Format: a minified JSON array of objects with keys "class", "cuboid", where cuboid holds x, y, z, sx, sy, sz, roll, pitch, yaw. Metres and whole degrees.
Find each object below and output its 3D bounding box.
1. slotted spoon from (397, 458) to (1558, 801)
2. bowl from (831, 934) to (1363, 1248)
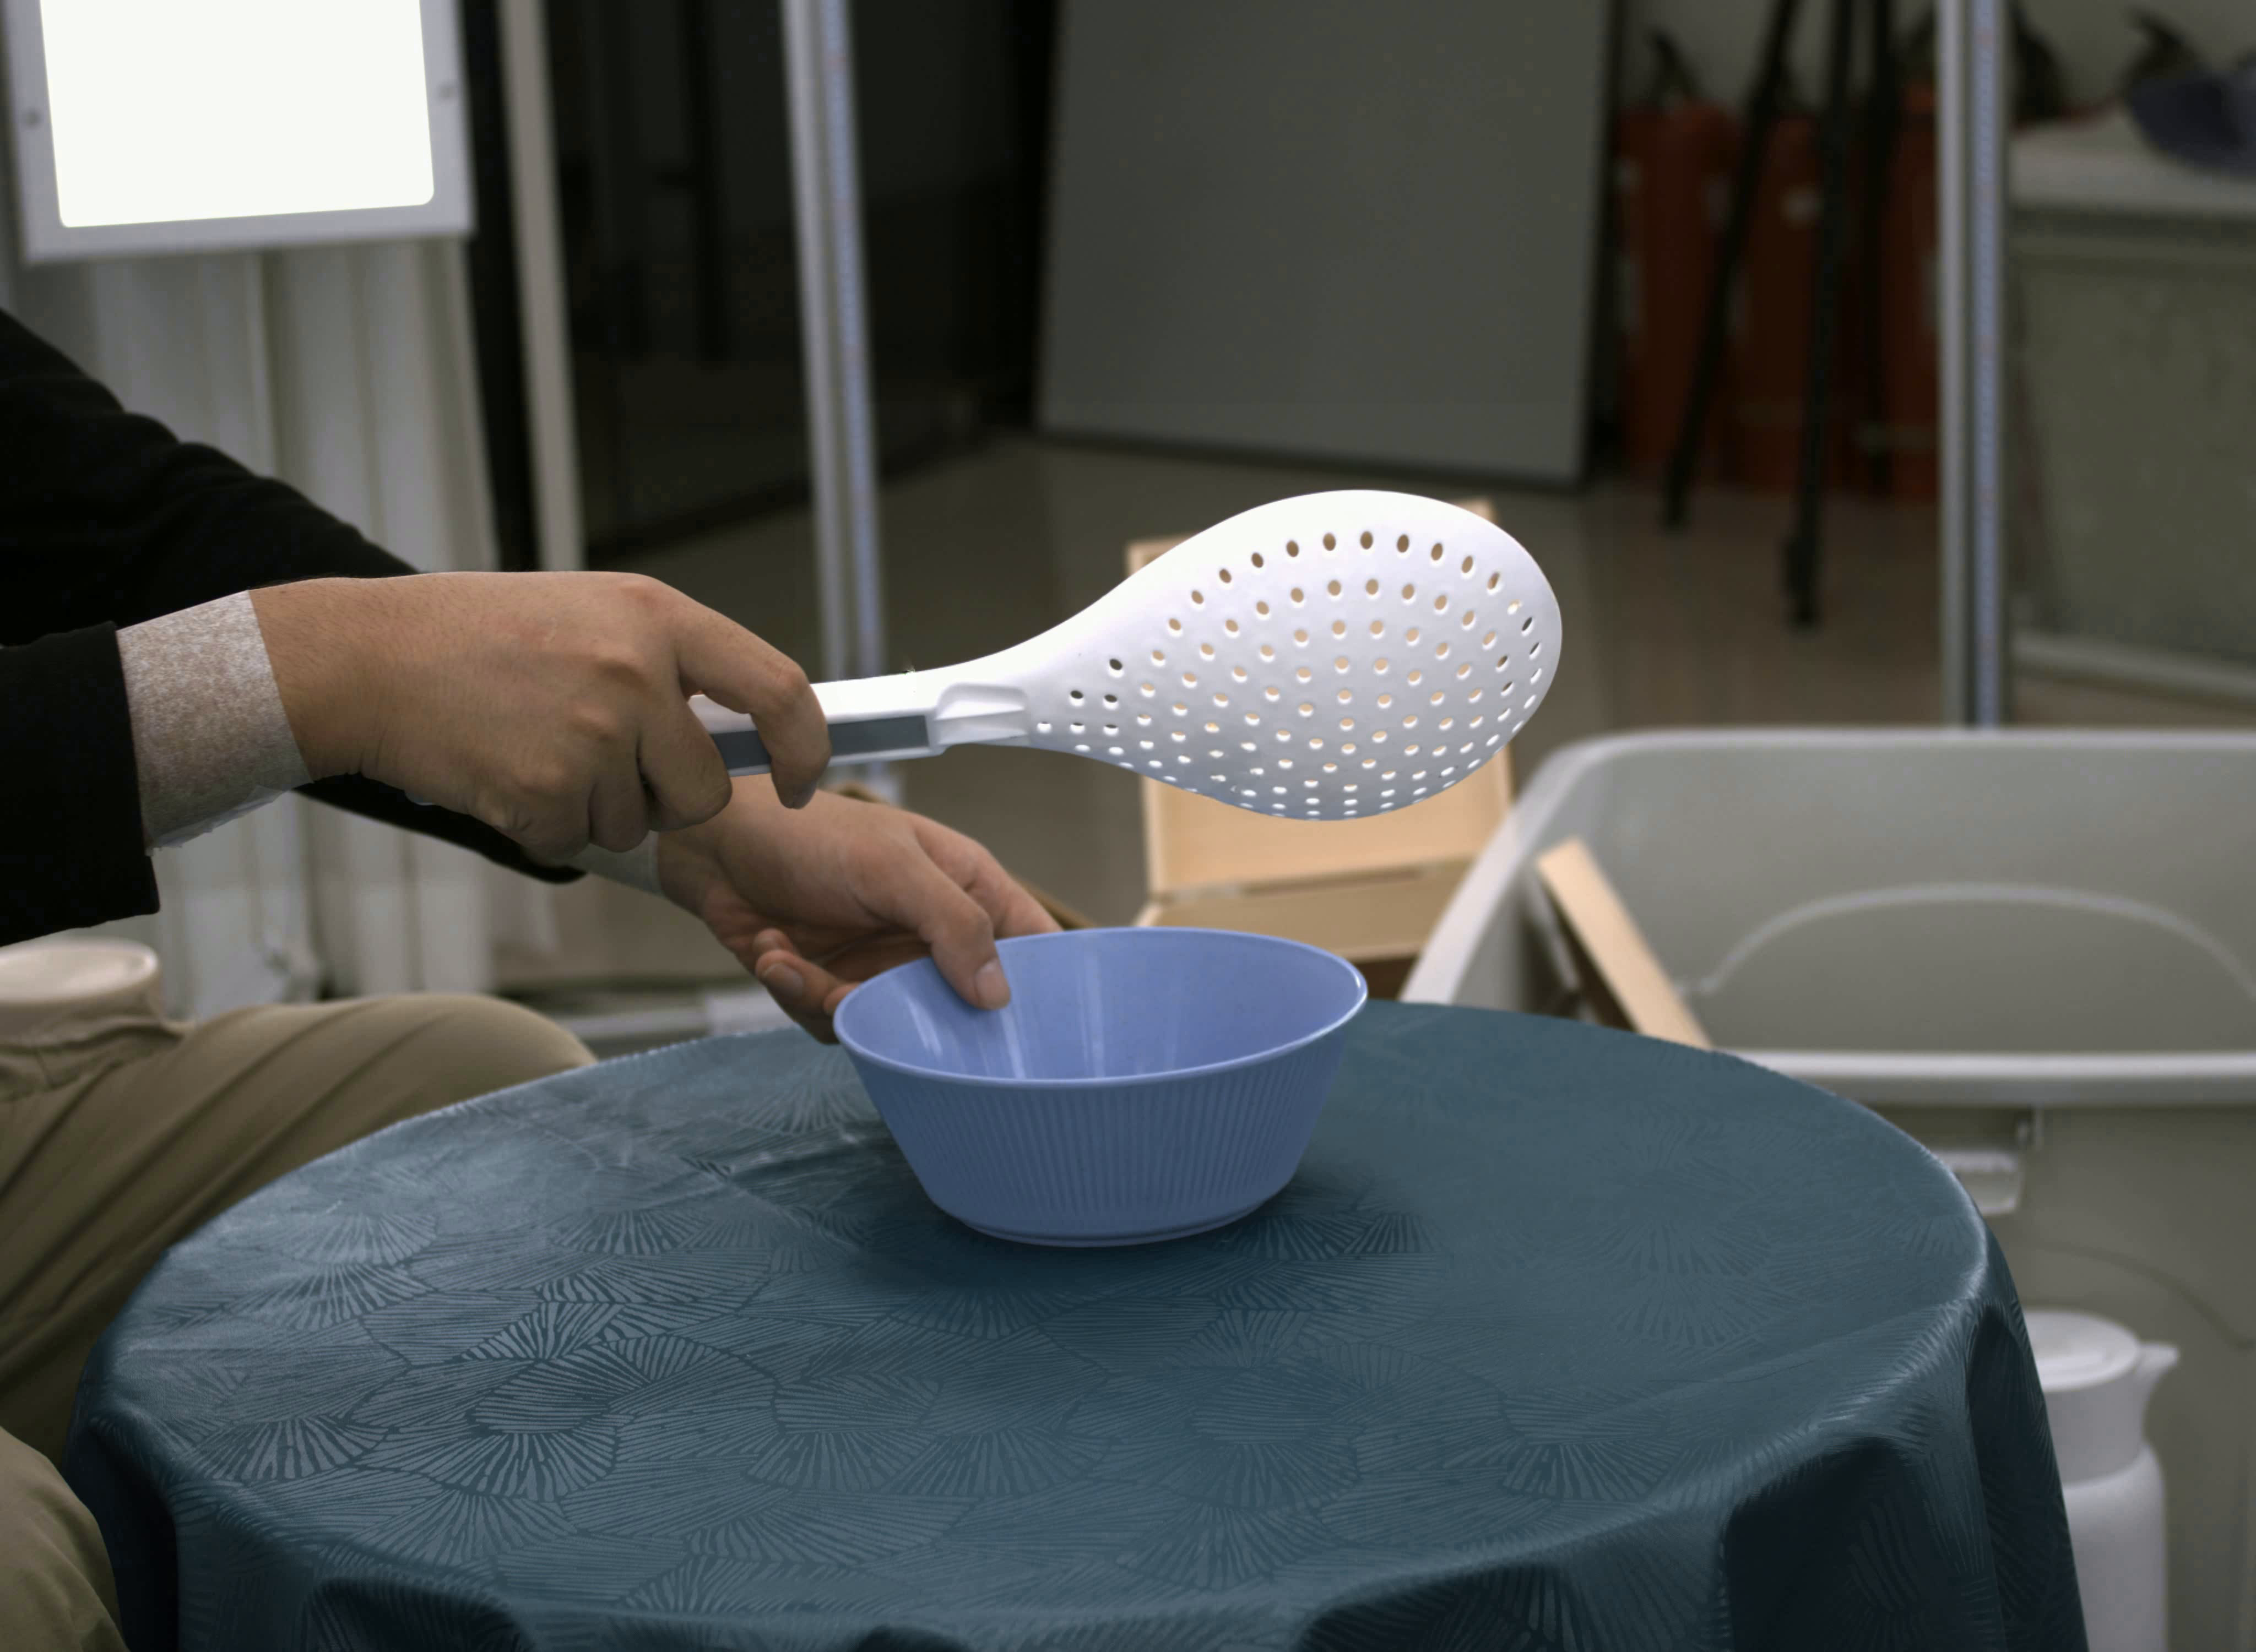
[{"class":"slotted spoon","cuboid":[-0.044,-0.041,1.603,0.346,0.136,0.046,-3,46,5]},{"class":"bowl","cuboid":[-0.008,0.088,1.759,0.174,0.071,0.176,-5,13,0]}]
